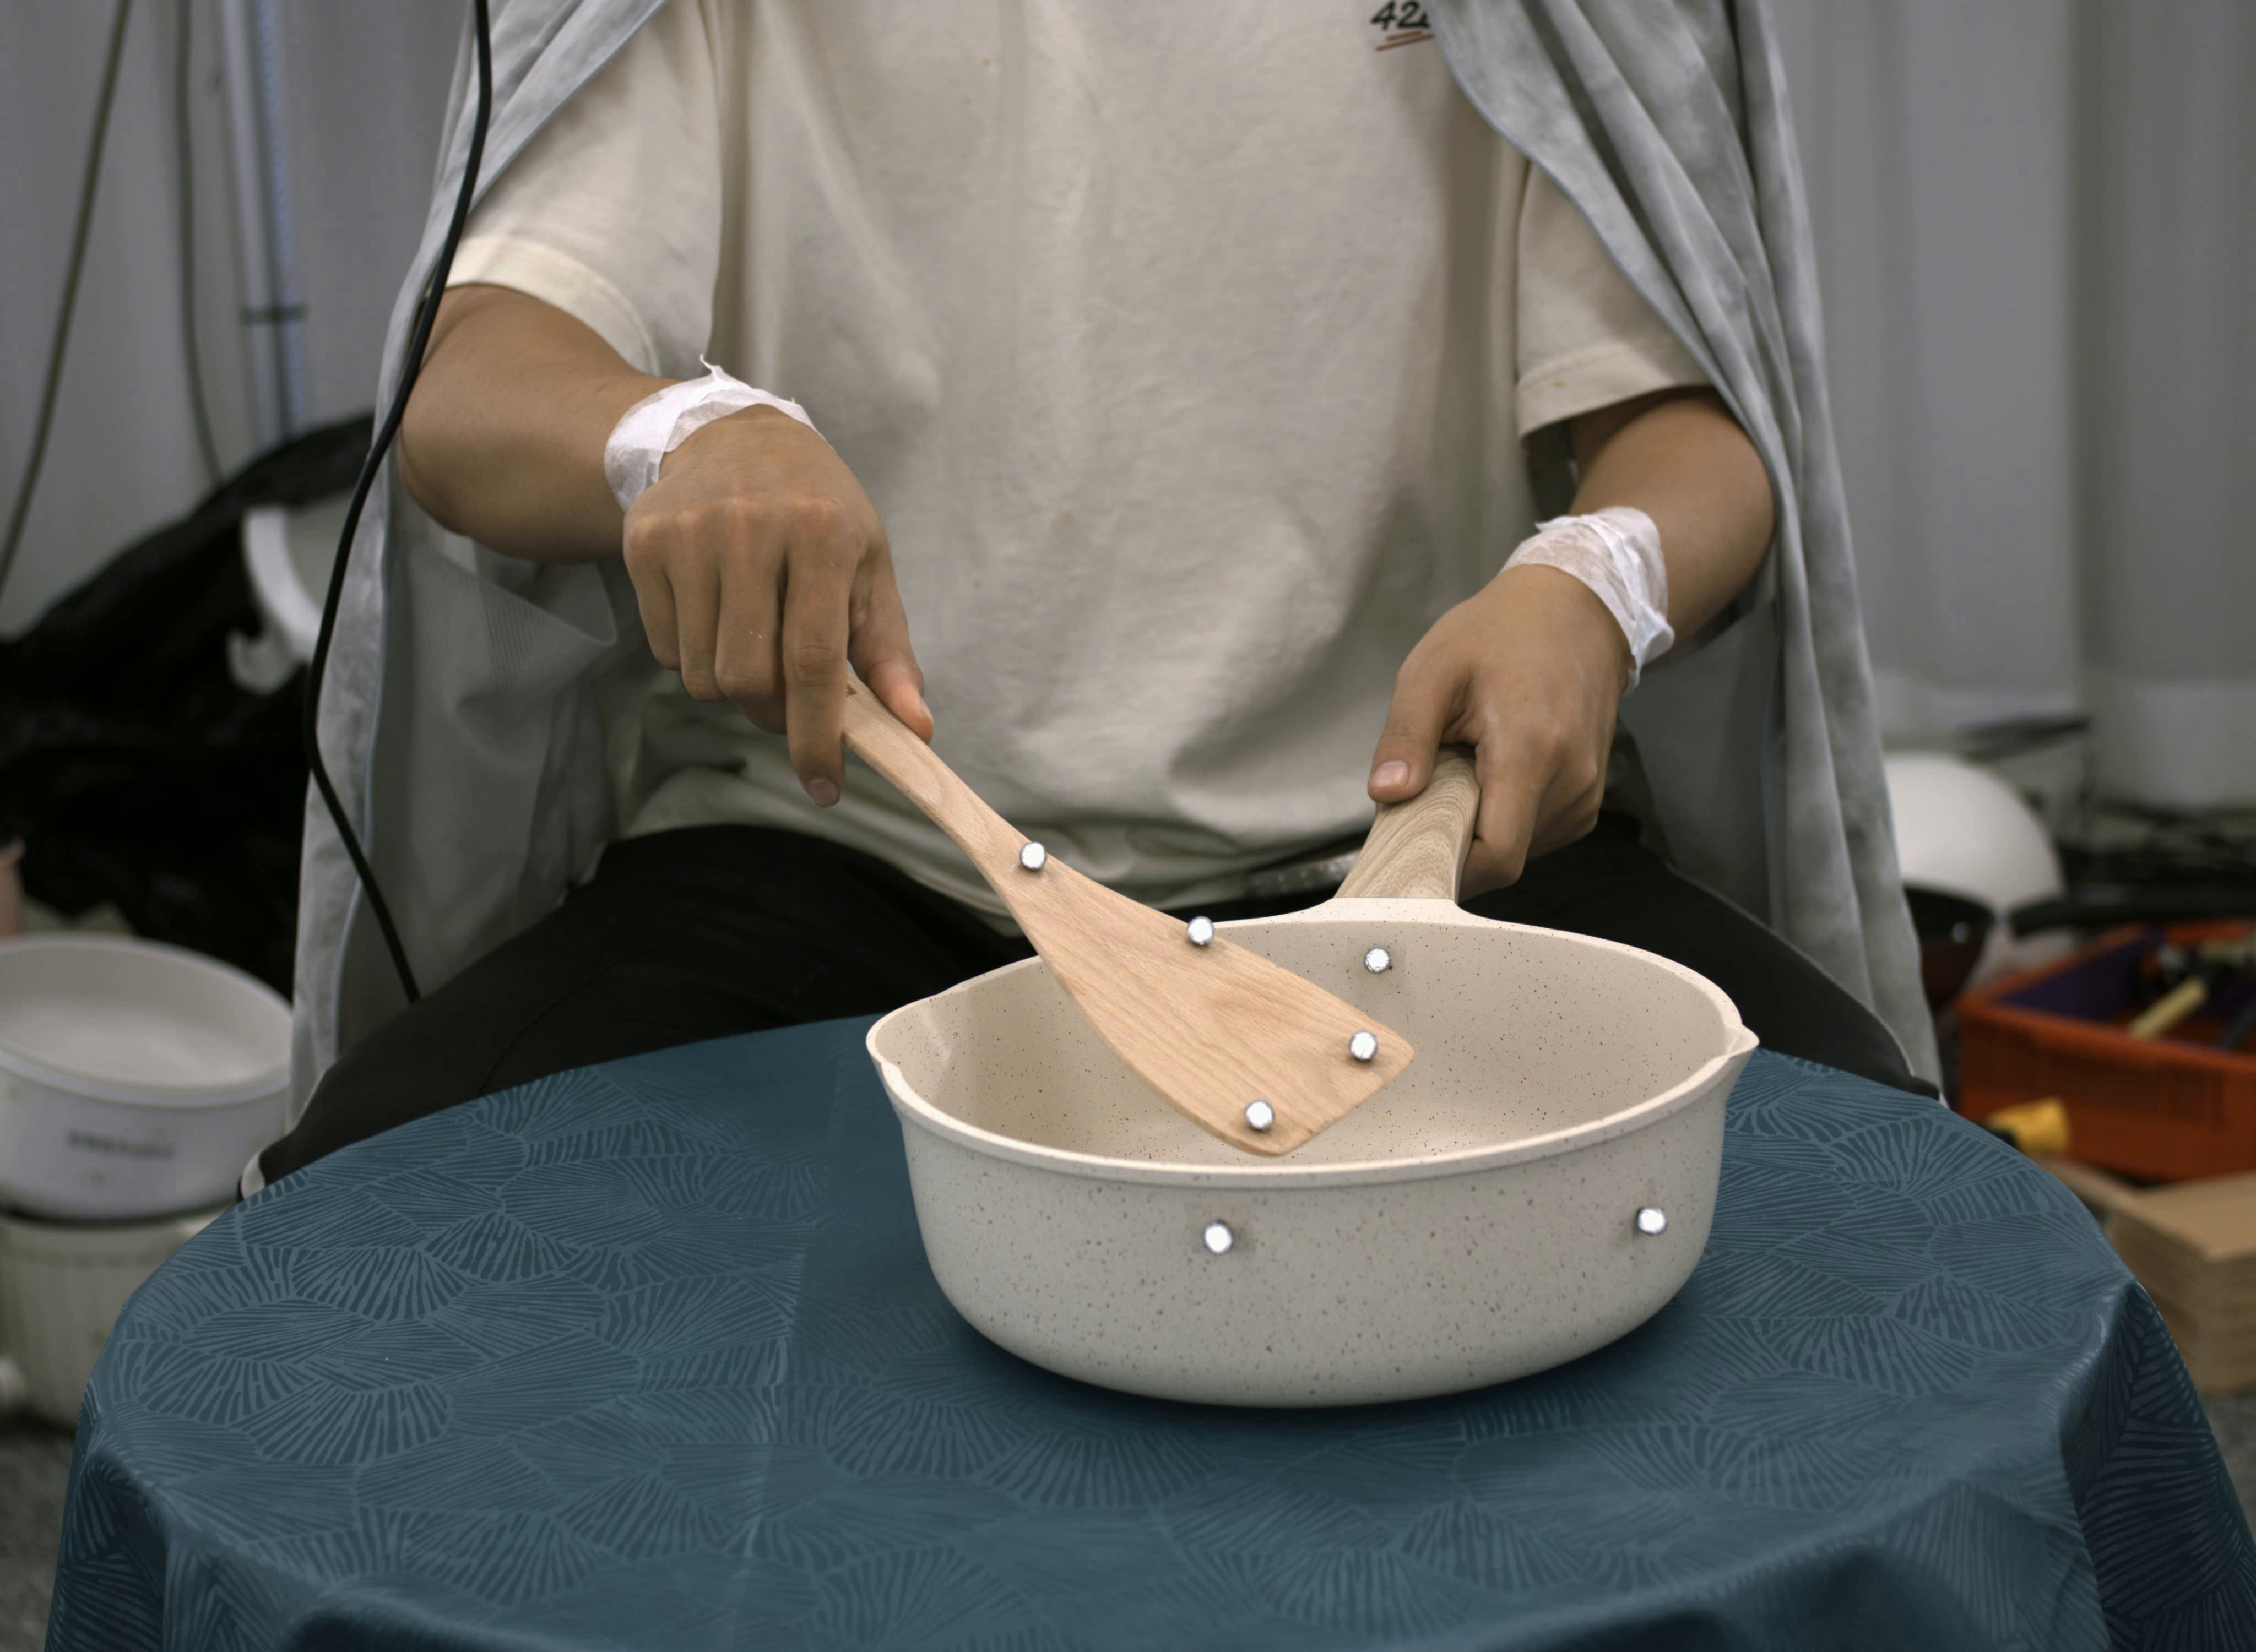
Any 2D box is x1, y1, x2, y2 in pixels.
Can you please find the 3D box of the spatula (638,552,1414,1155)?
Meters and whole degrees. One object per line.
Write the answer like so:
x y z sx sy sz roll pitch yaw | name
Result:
-0.042 0.000 1.660 0.080 0.016 0.331 -21 48 -38 | spatula

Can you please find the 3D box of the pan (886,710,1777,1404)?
0.078 0.067 1.690 0.263 0.101 0.437 -1 15 12 | pan
